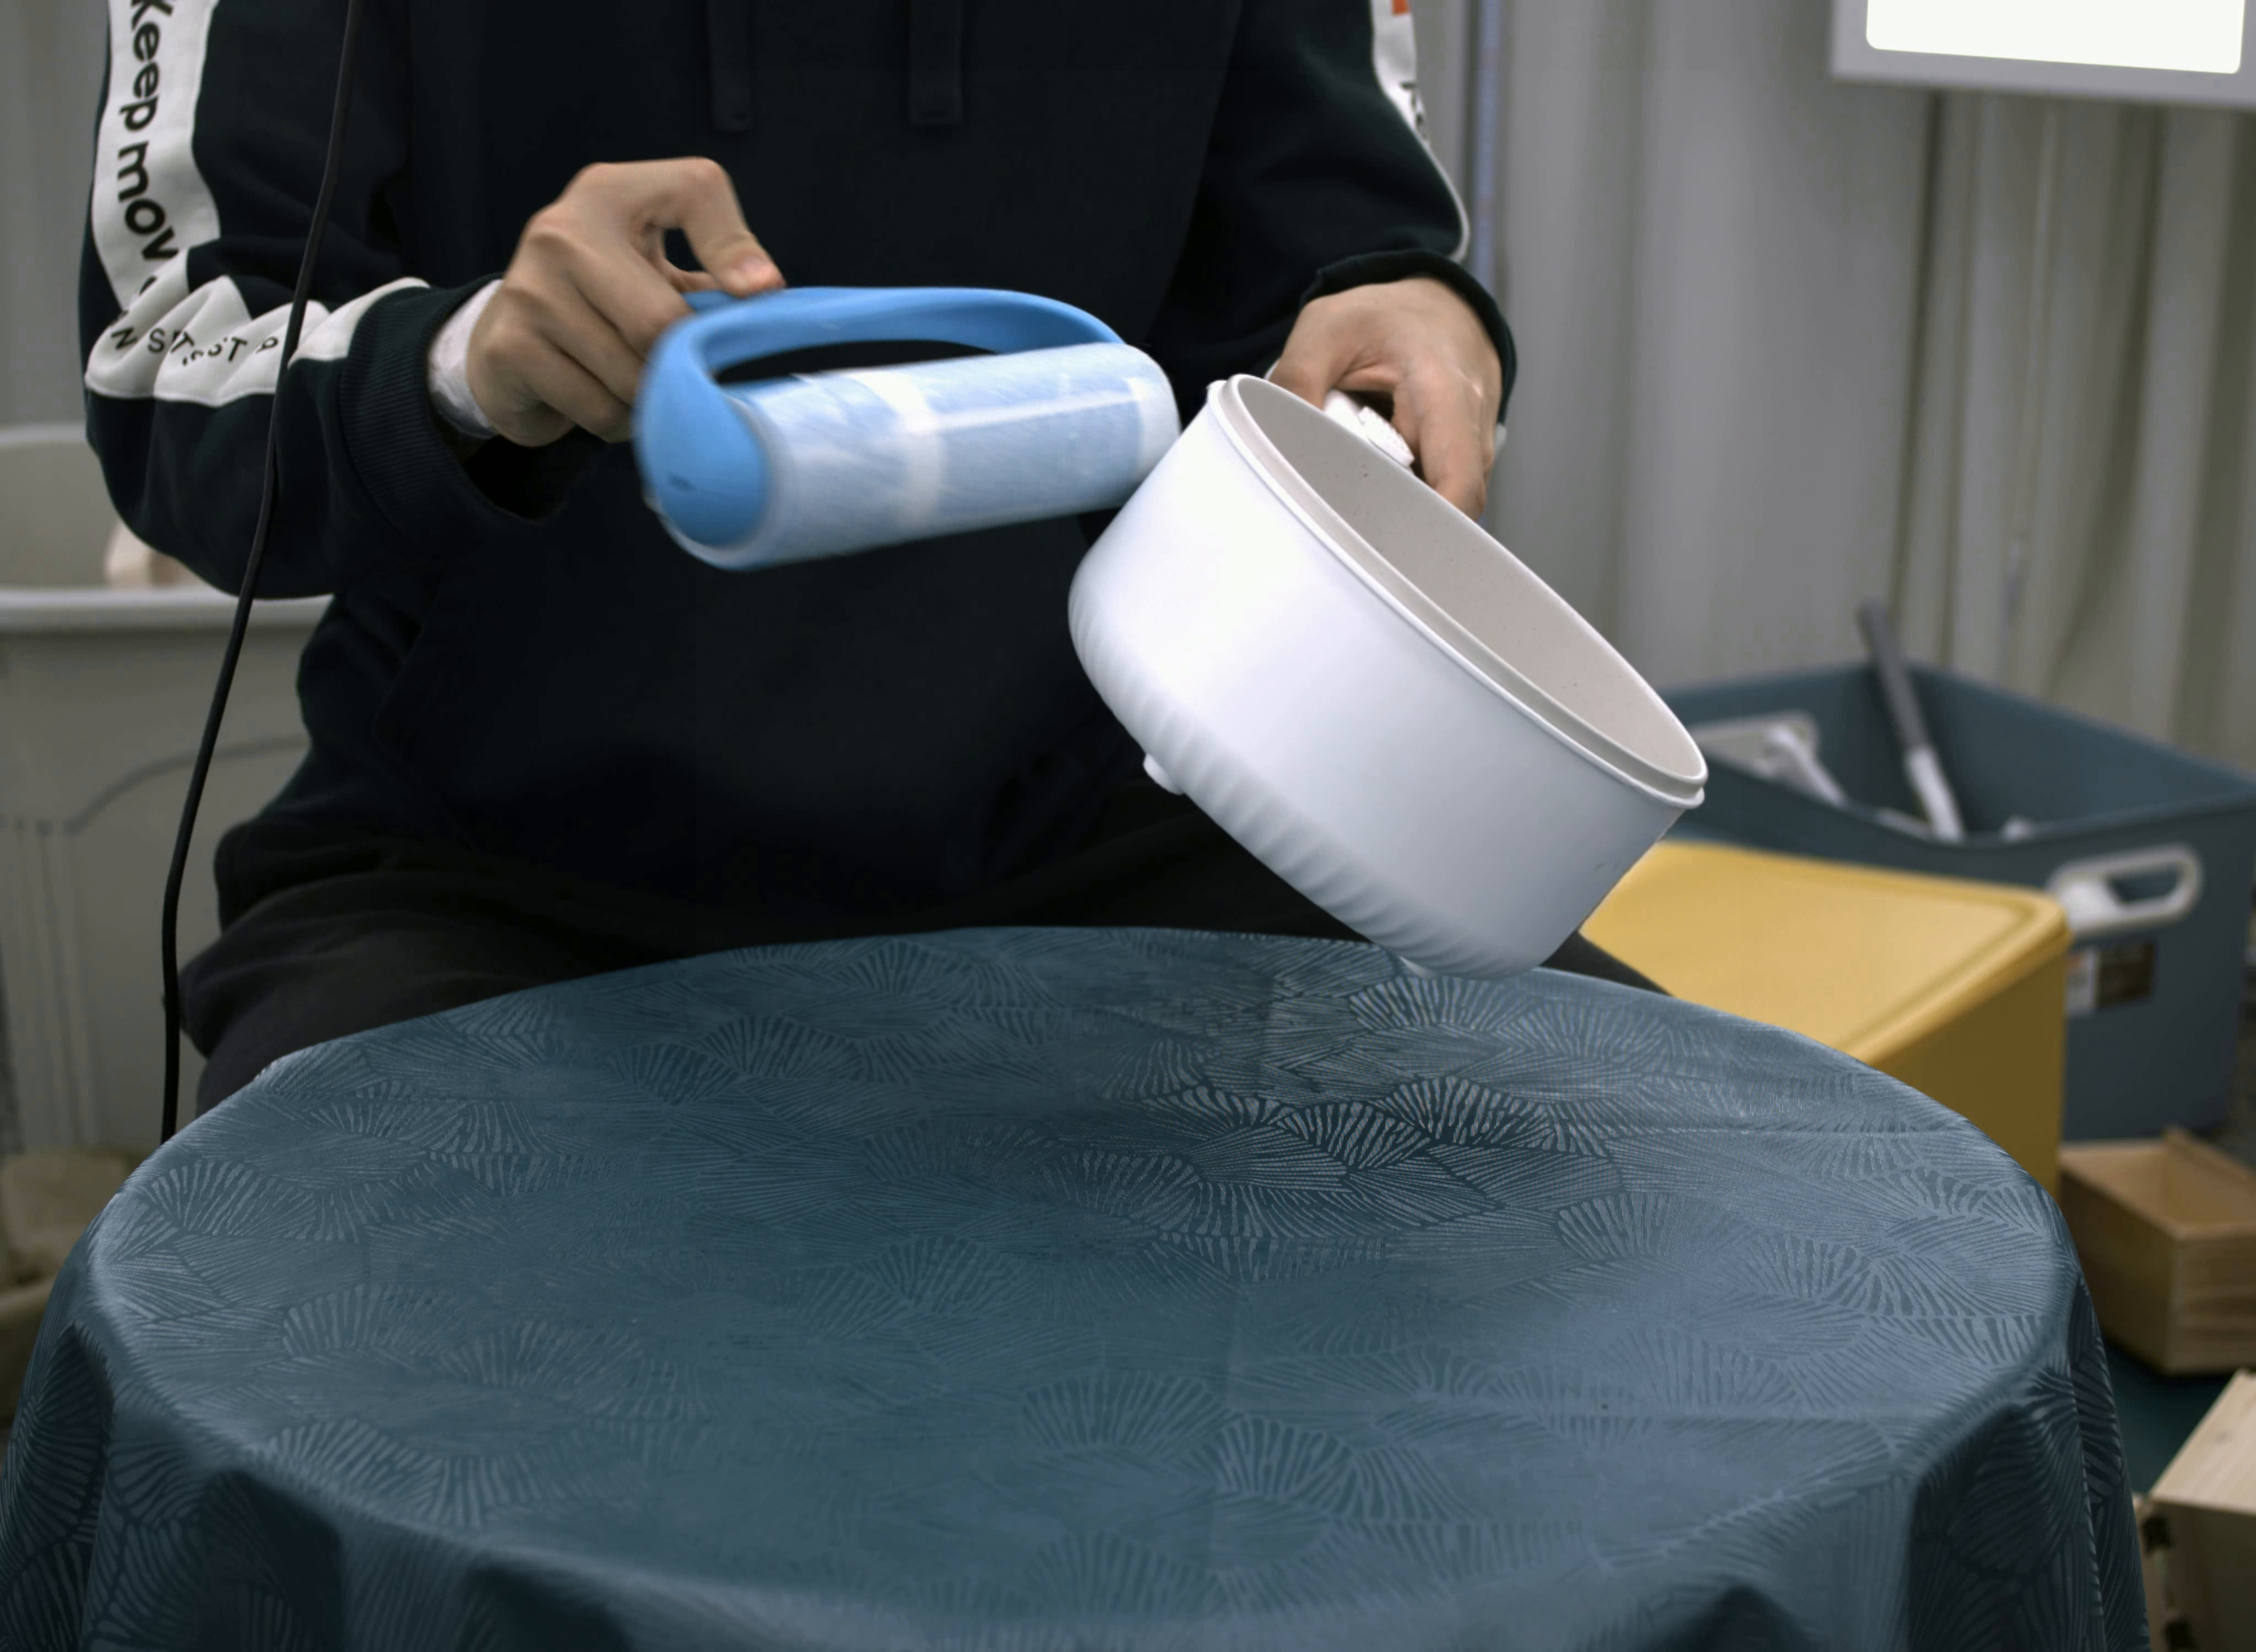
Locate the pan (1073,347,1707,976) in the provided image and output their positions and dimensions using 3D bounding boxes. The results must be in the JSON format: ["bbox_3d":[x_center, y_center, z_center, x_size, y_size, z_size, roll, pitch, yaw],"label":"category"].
[{"bbox_3d":[0.069,-0.070,1.722,0.203,0.102,0.352,38,12,-18],"label":"pan"}]

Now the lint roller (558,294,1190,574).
[{"bbox_3d":[-0.104,-0.134,1.637,0.178,0.068,0.230,21,21,27],"label":"lint roller"}]
